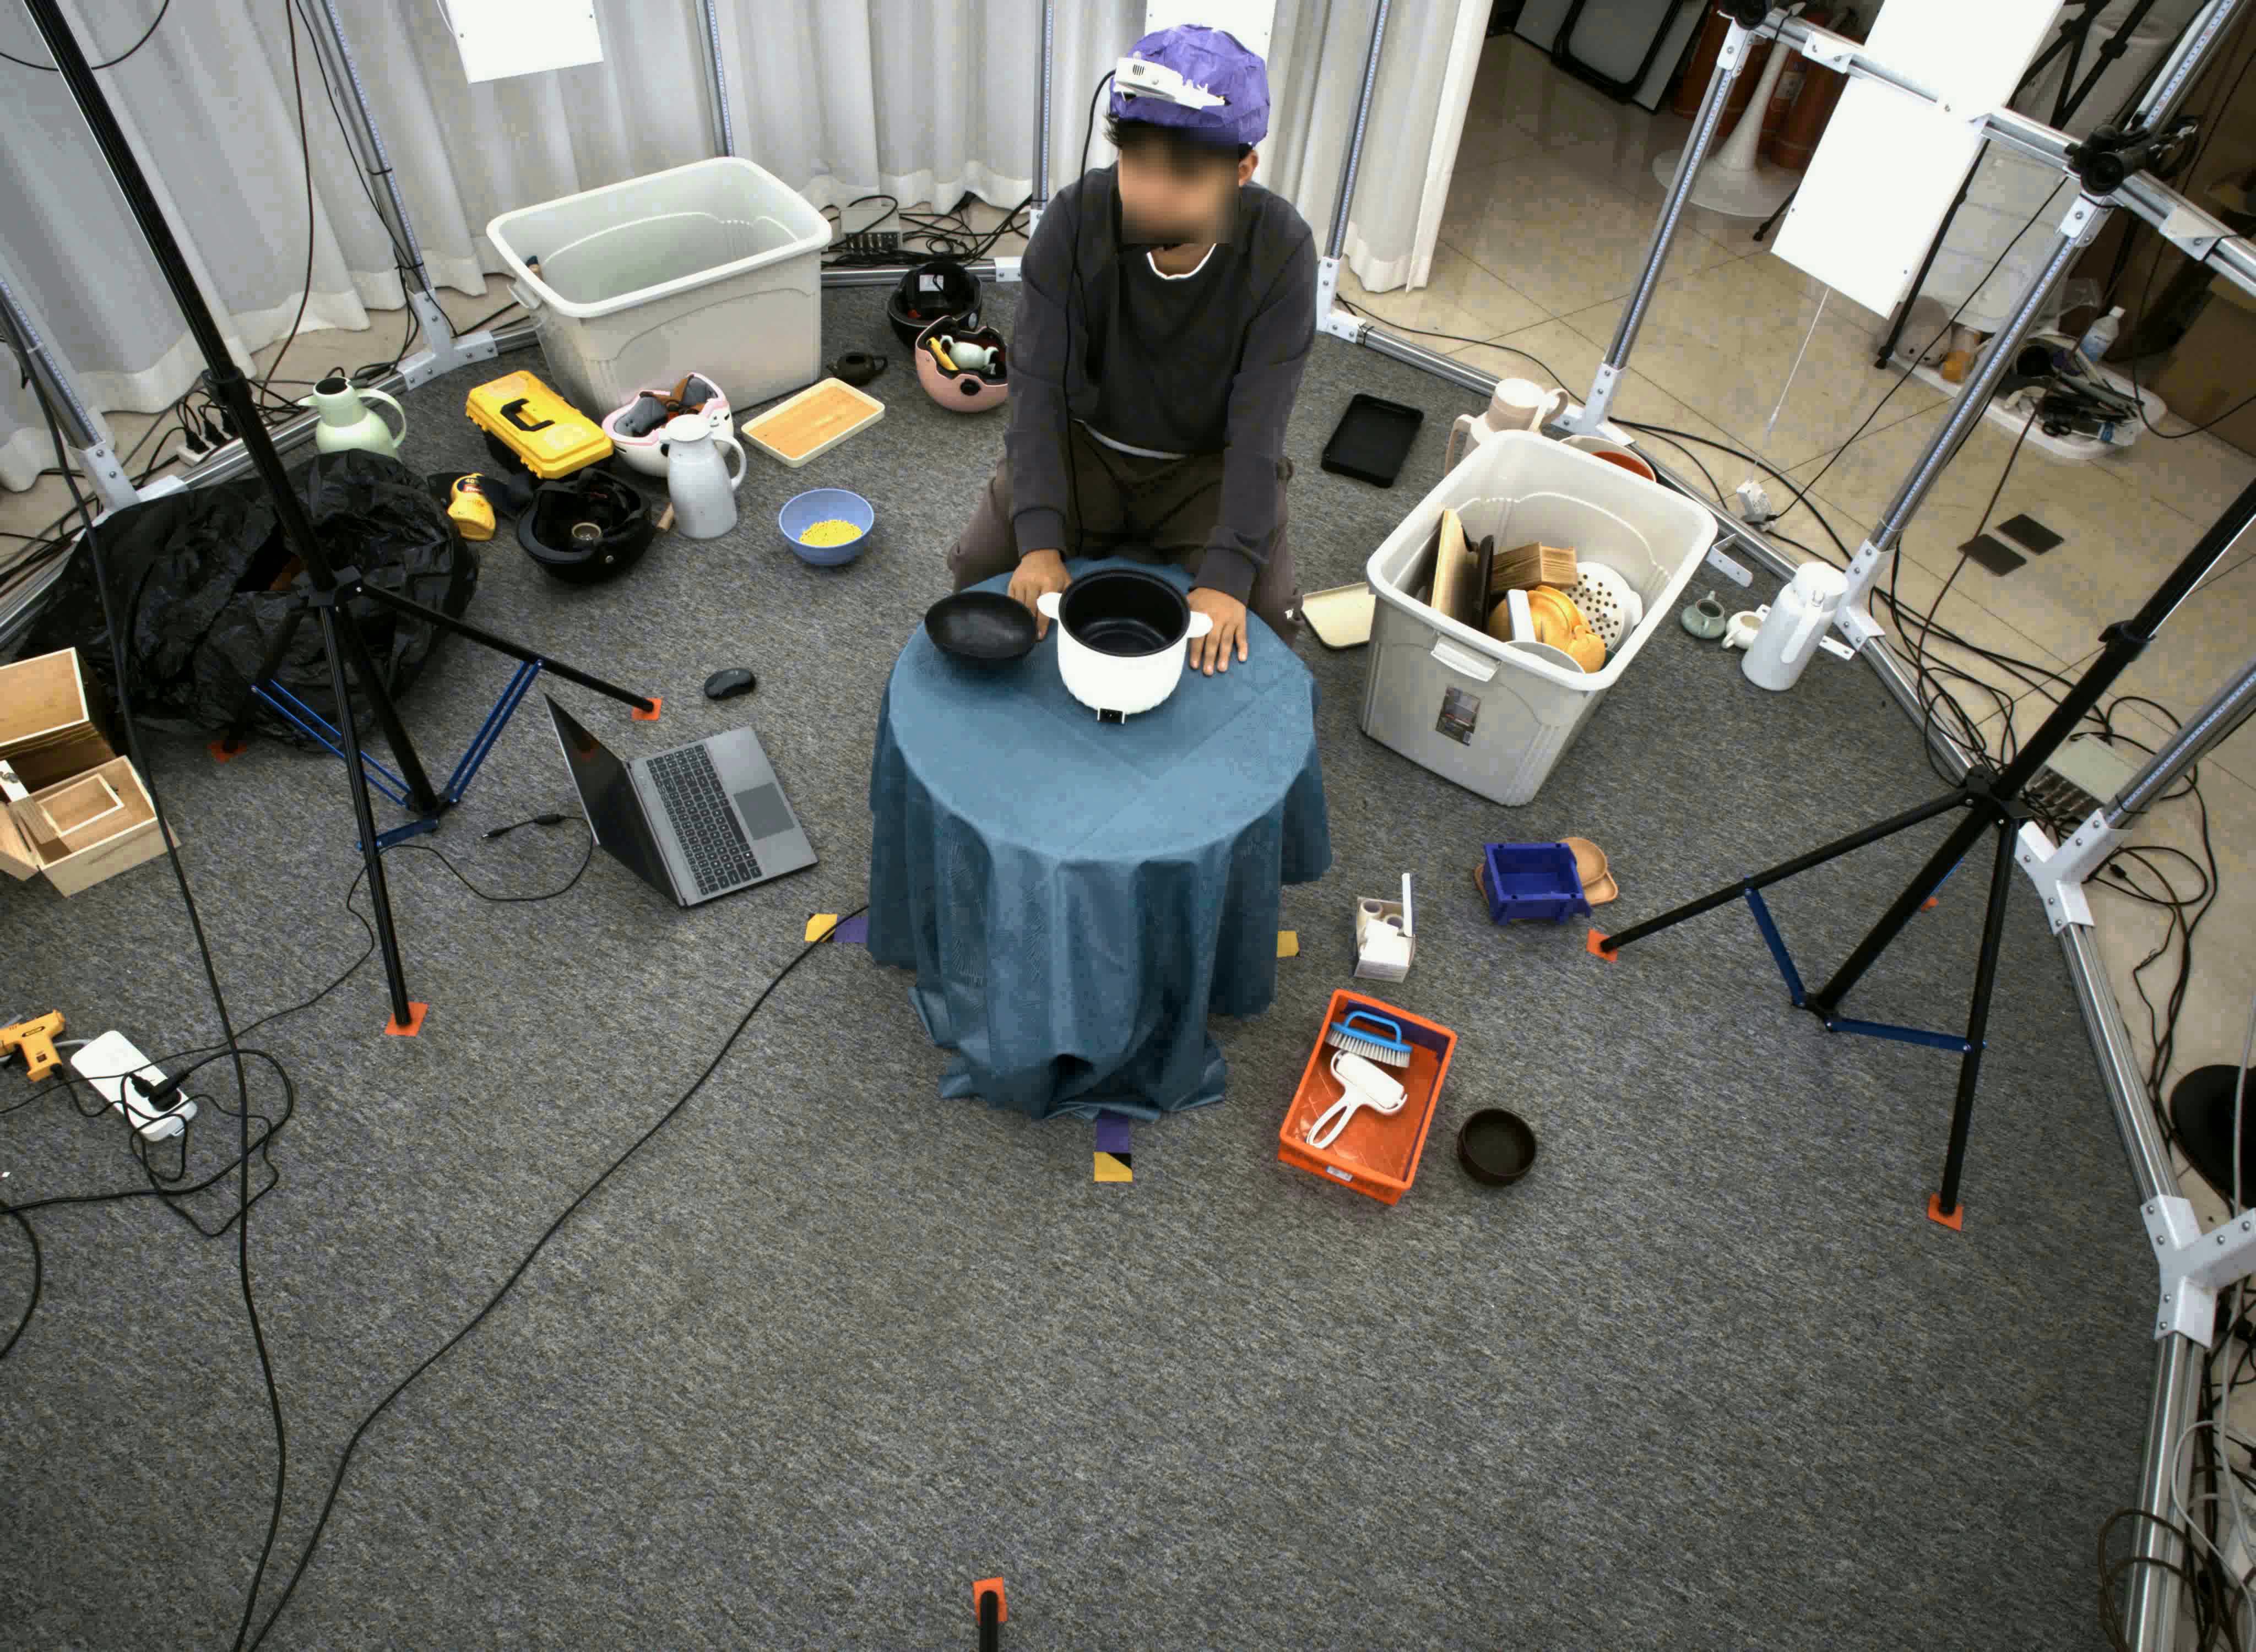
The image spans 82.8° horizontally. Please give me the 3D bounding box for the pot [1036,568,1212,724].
[{"bbox_3d":[-0.010,-0.255,1.797,0.240,0.139,0.195,8,52,1],"label":"pot"}]

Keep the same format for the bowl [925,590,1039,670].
[{"bbox_3d":[-0.209,-0.269,1.841,0.171,0.065,0.140,20,50,15],"label":"bowl"}]
